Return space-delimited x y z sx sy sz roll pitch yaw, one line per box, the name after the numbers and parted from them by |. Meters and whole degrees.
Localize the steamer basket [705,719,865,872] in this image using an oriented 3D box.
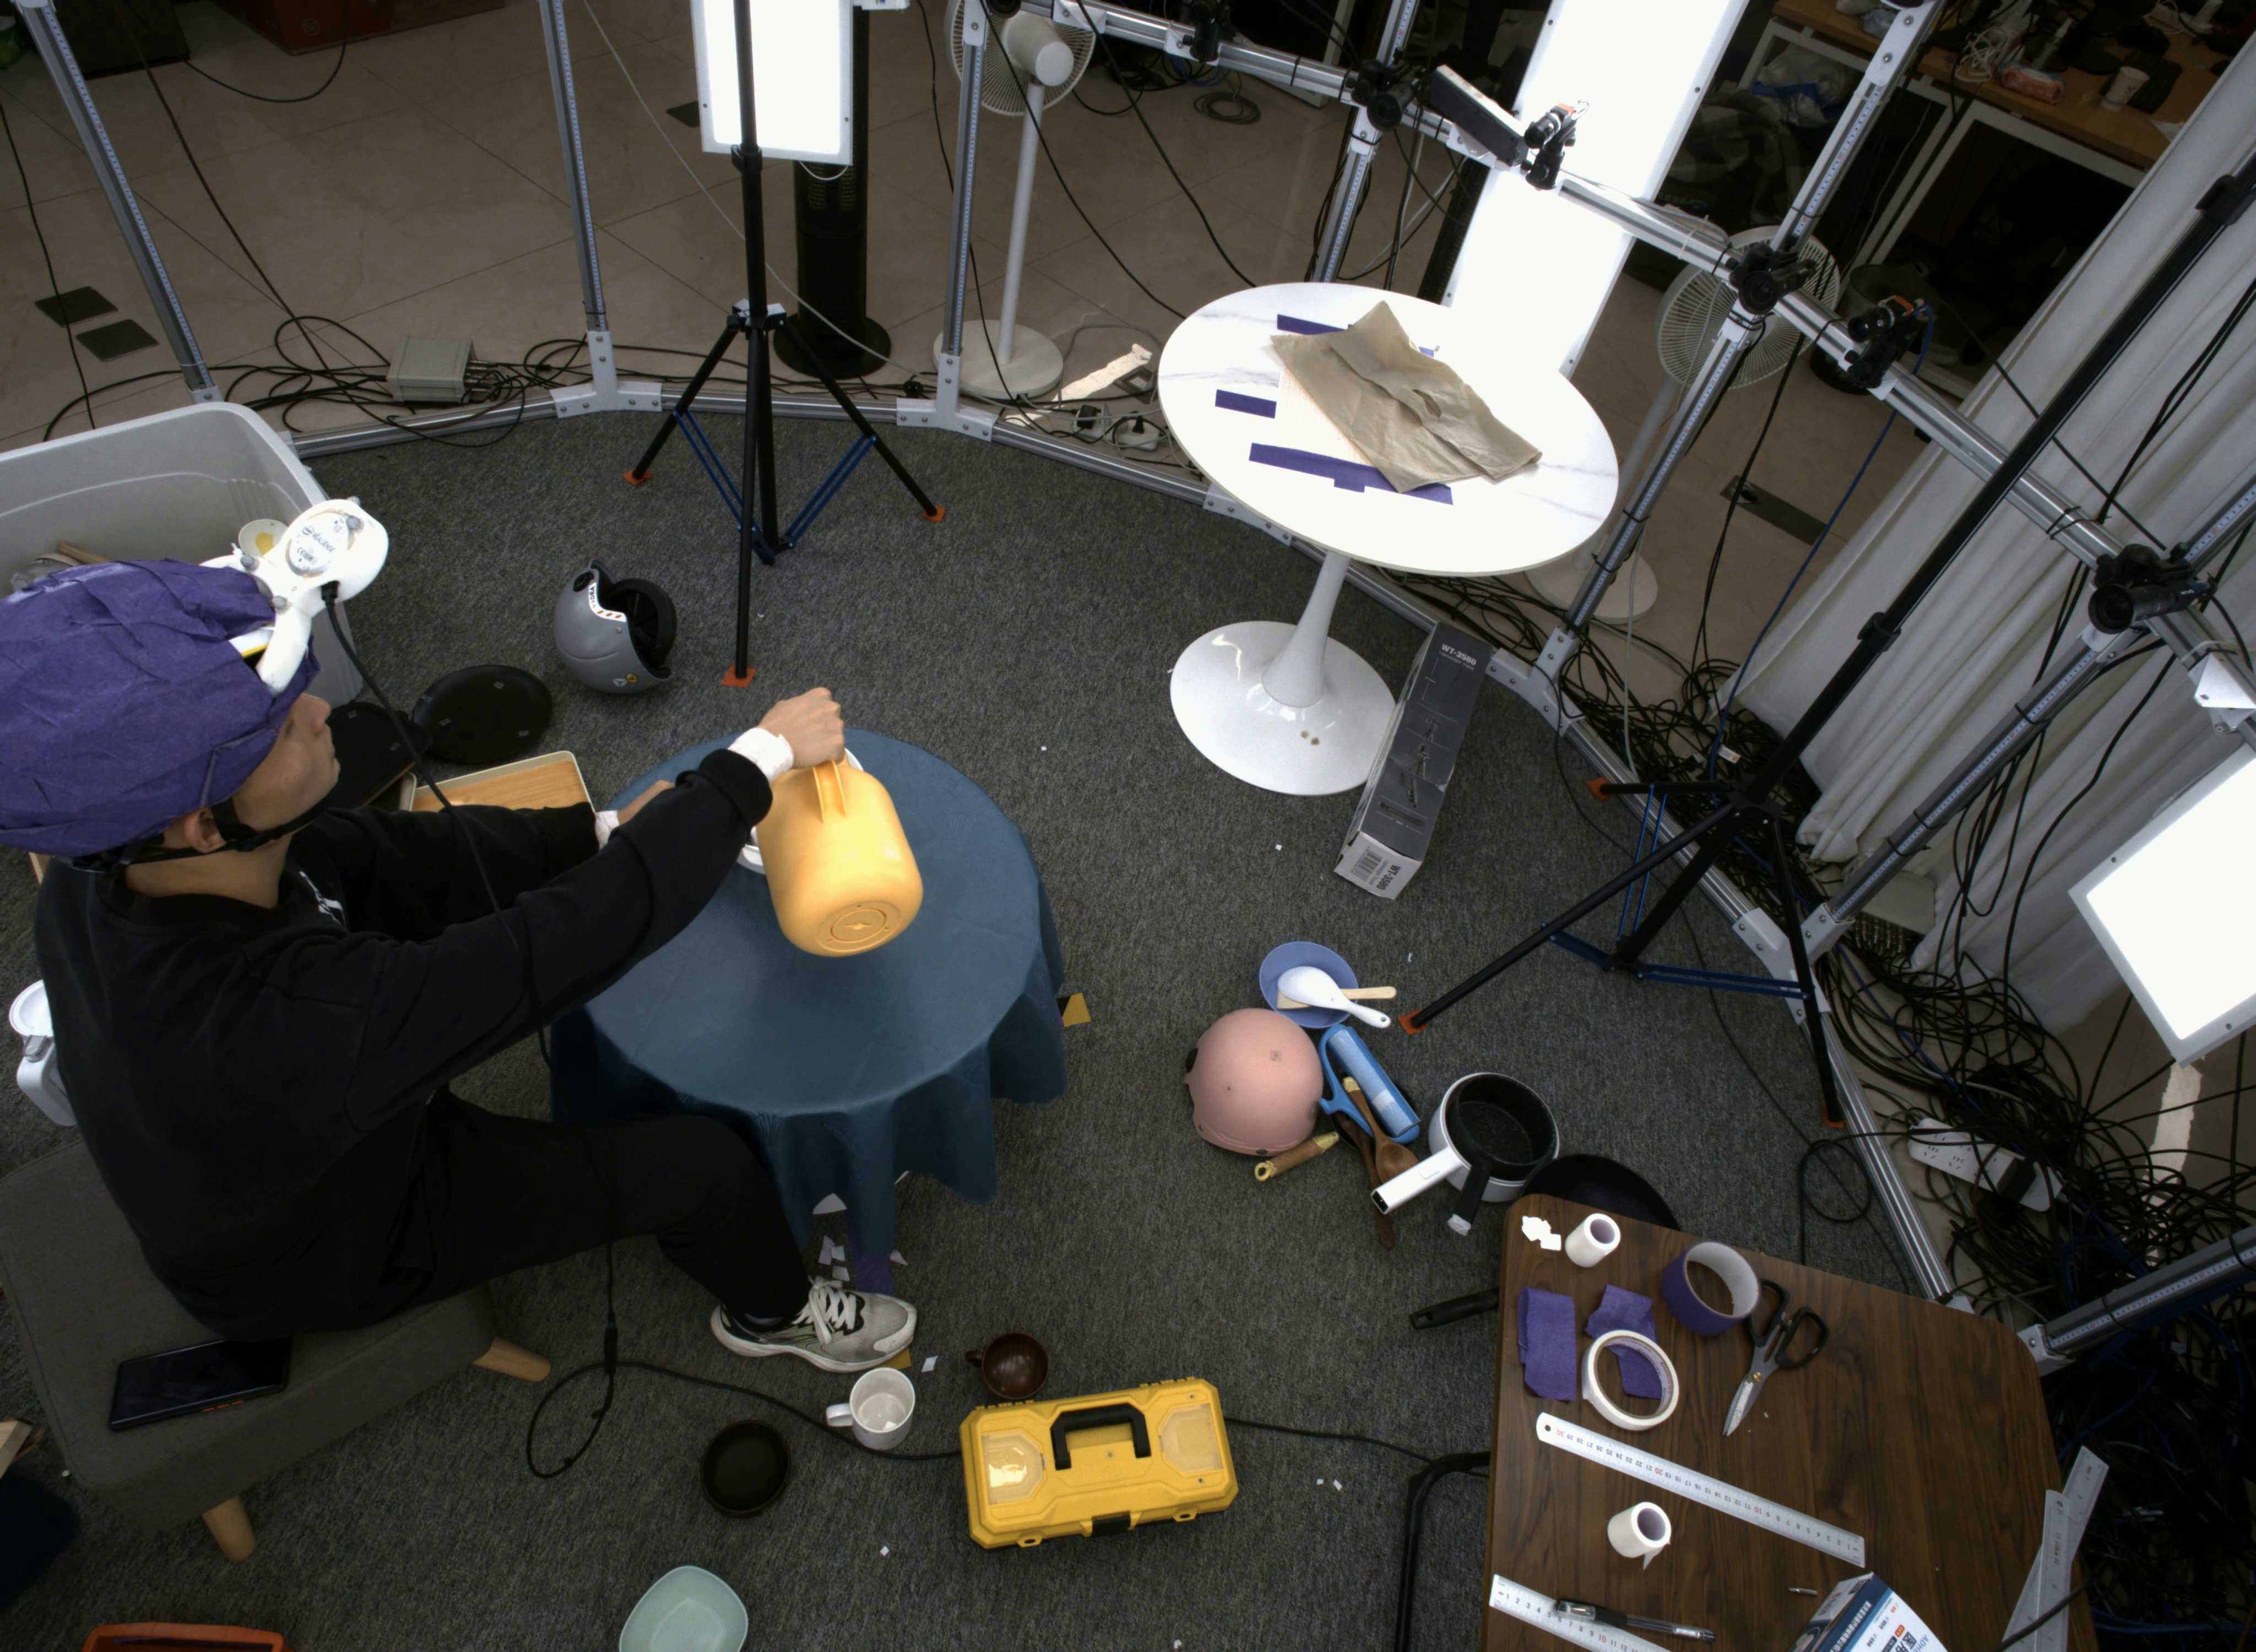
-0.435 -0.034 1.657 0.201 0.070 0.226 9 52 -8 | steamer basket

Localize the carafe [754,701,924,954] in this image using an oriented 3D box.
-0.340 -0.008 1.457 0.164 0.207 0.253 -18 57 -18 | carafe
